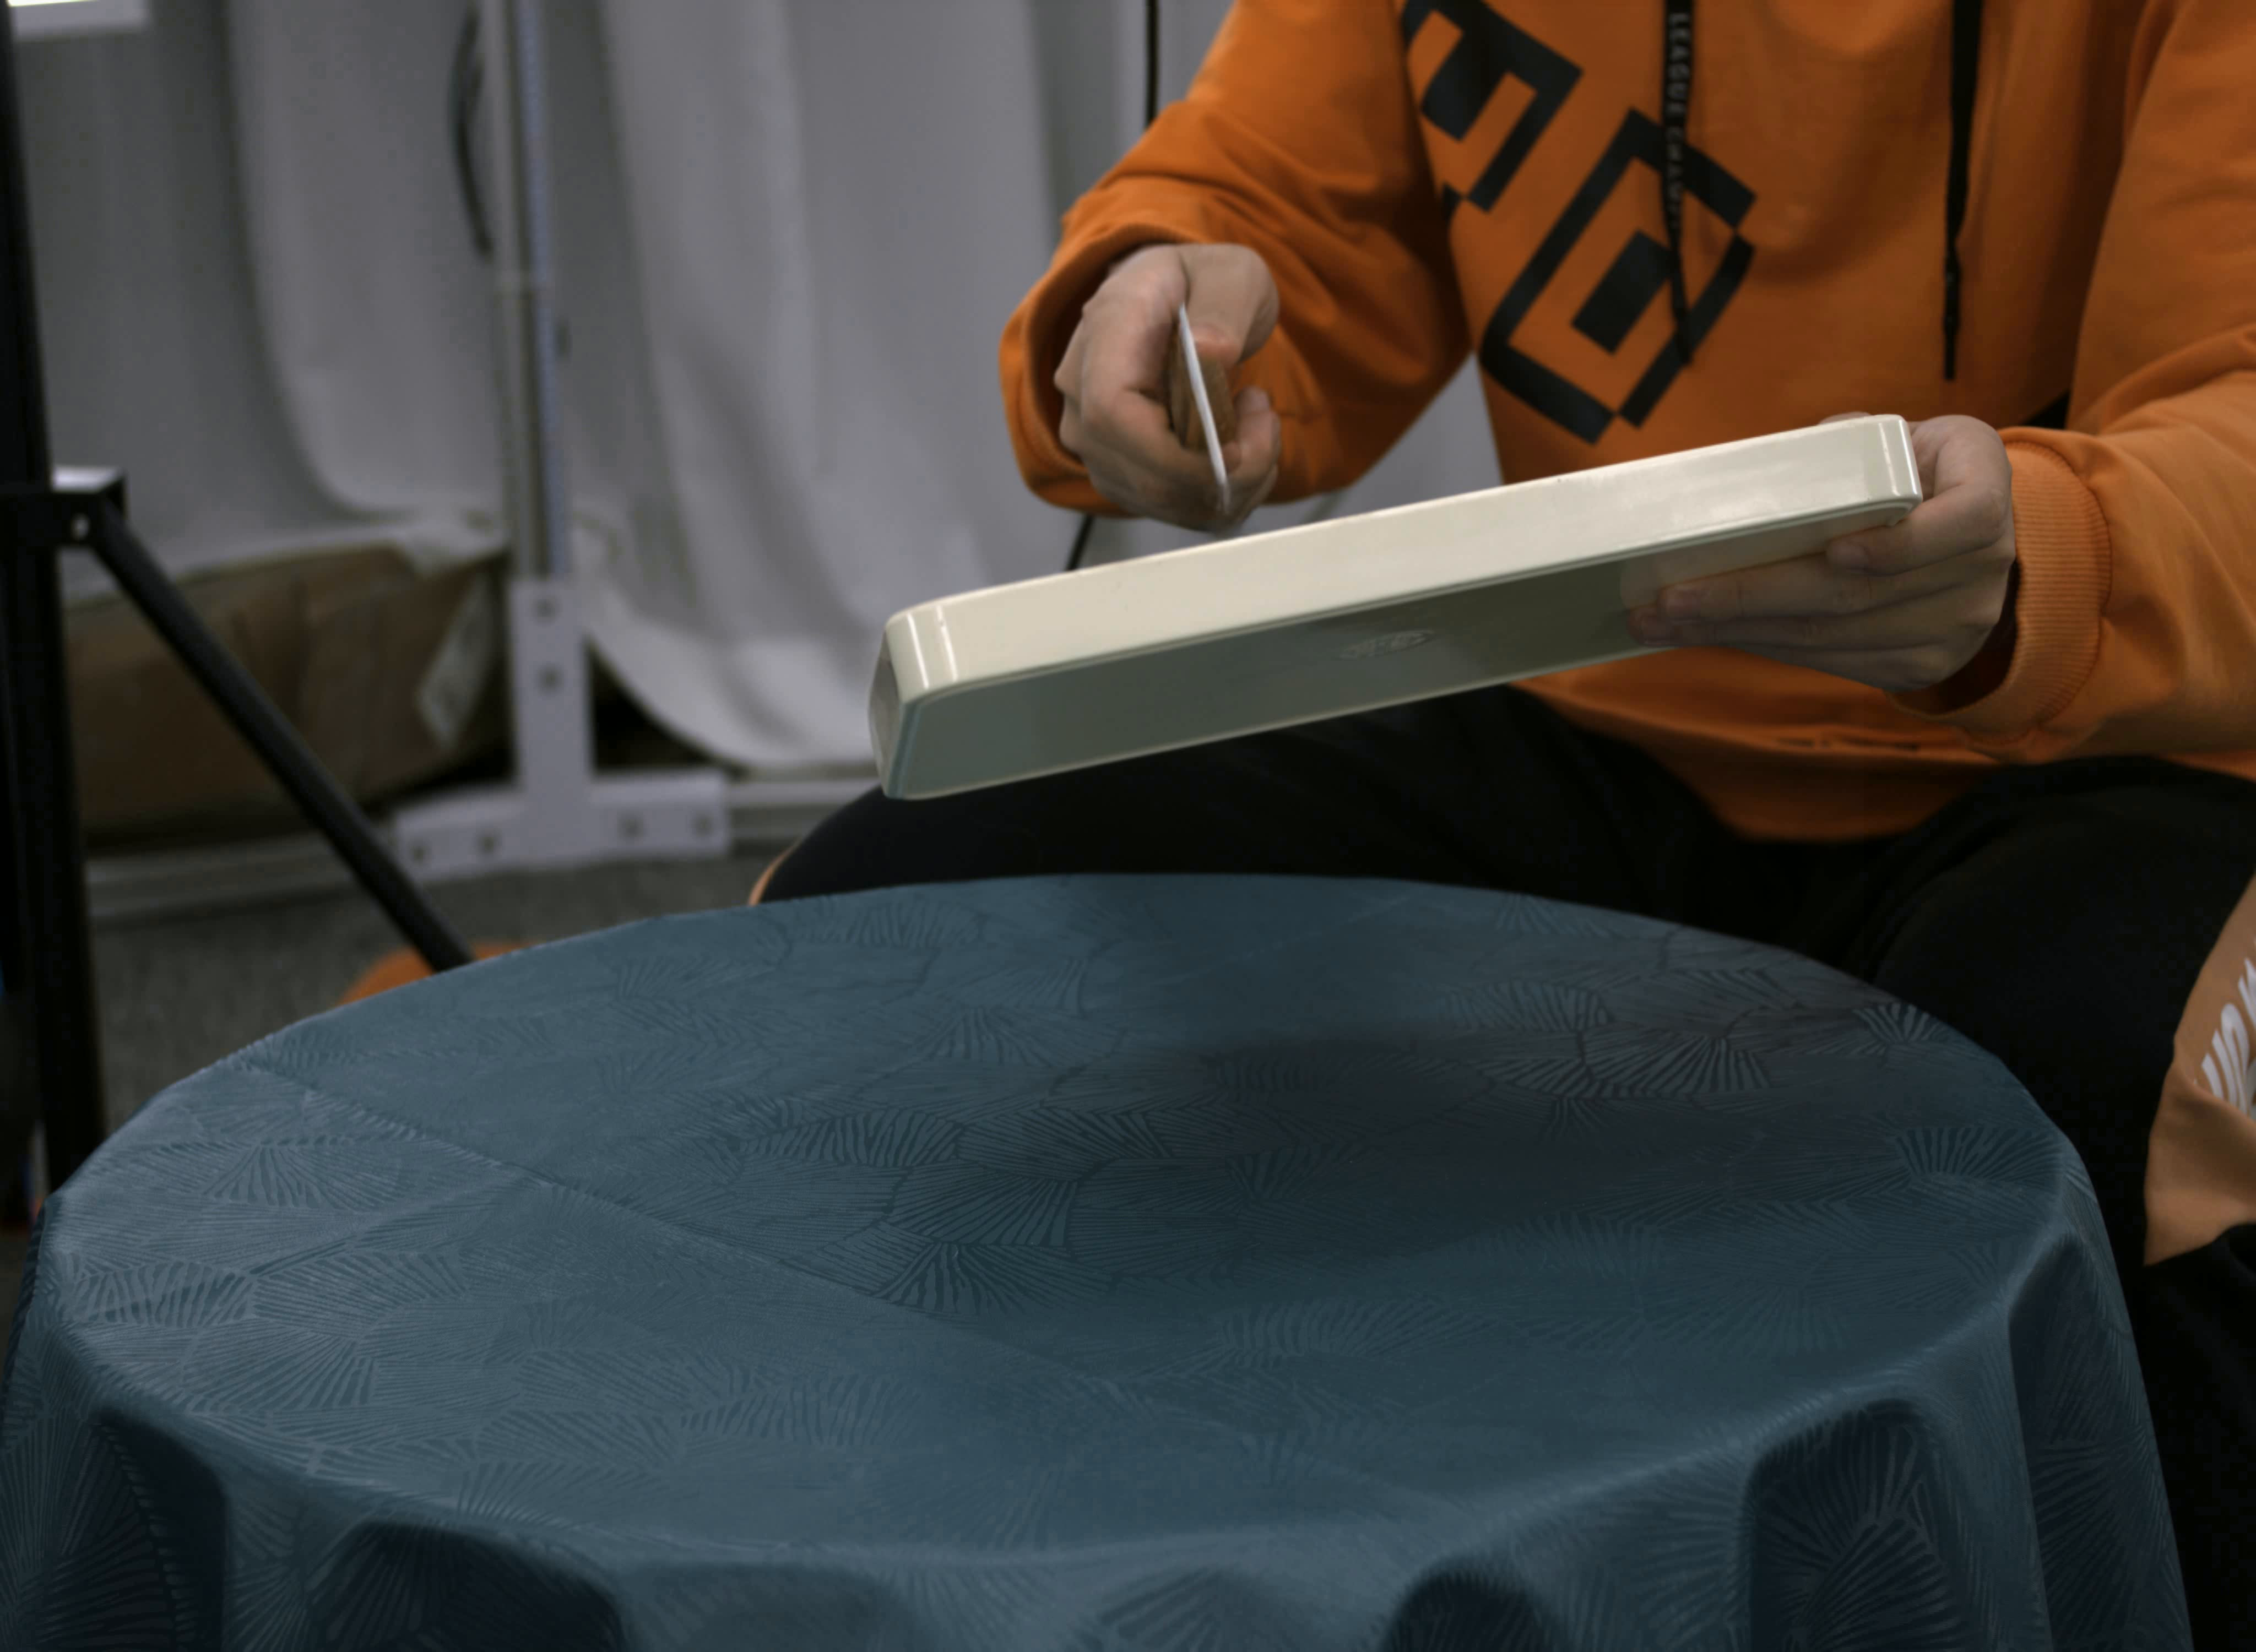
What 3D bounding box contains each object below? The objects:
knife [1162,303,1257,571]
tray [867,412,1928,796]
[{"bbox_3d":[0.029,-0.104,1.650,0.021,0.093,0.305,-15,-1,1],"label":"knife"},{"bbox_3d":[0.074,-0.061,1.571,0.298,0.027,0.191,-11,-8,-5],"label":"tray"}]
